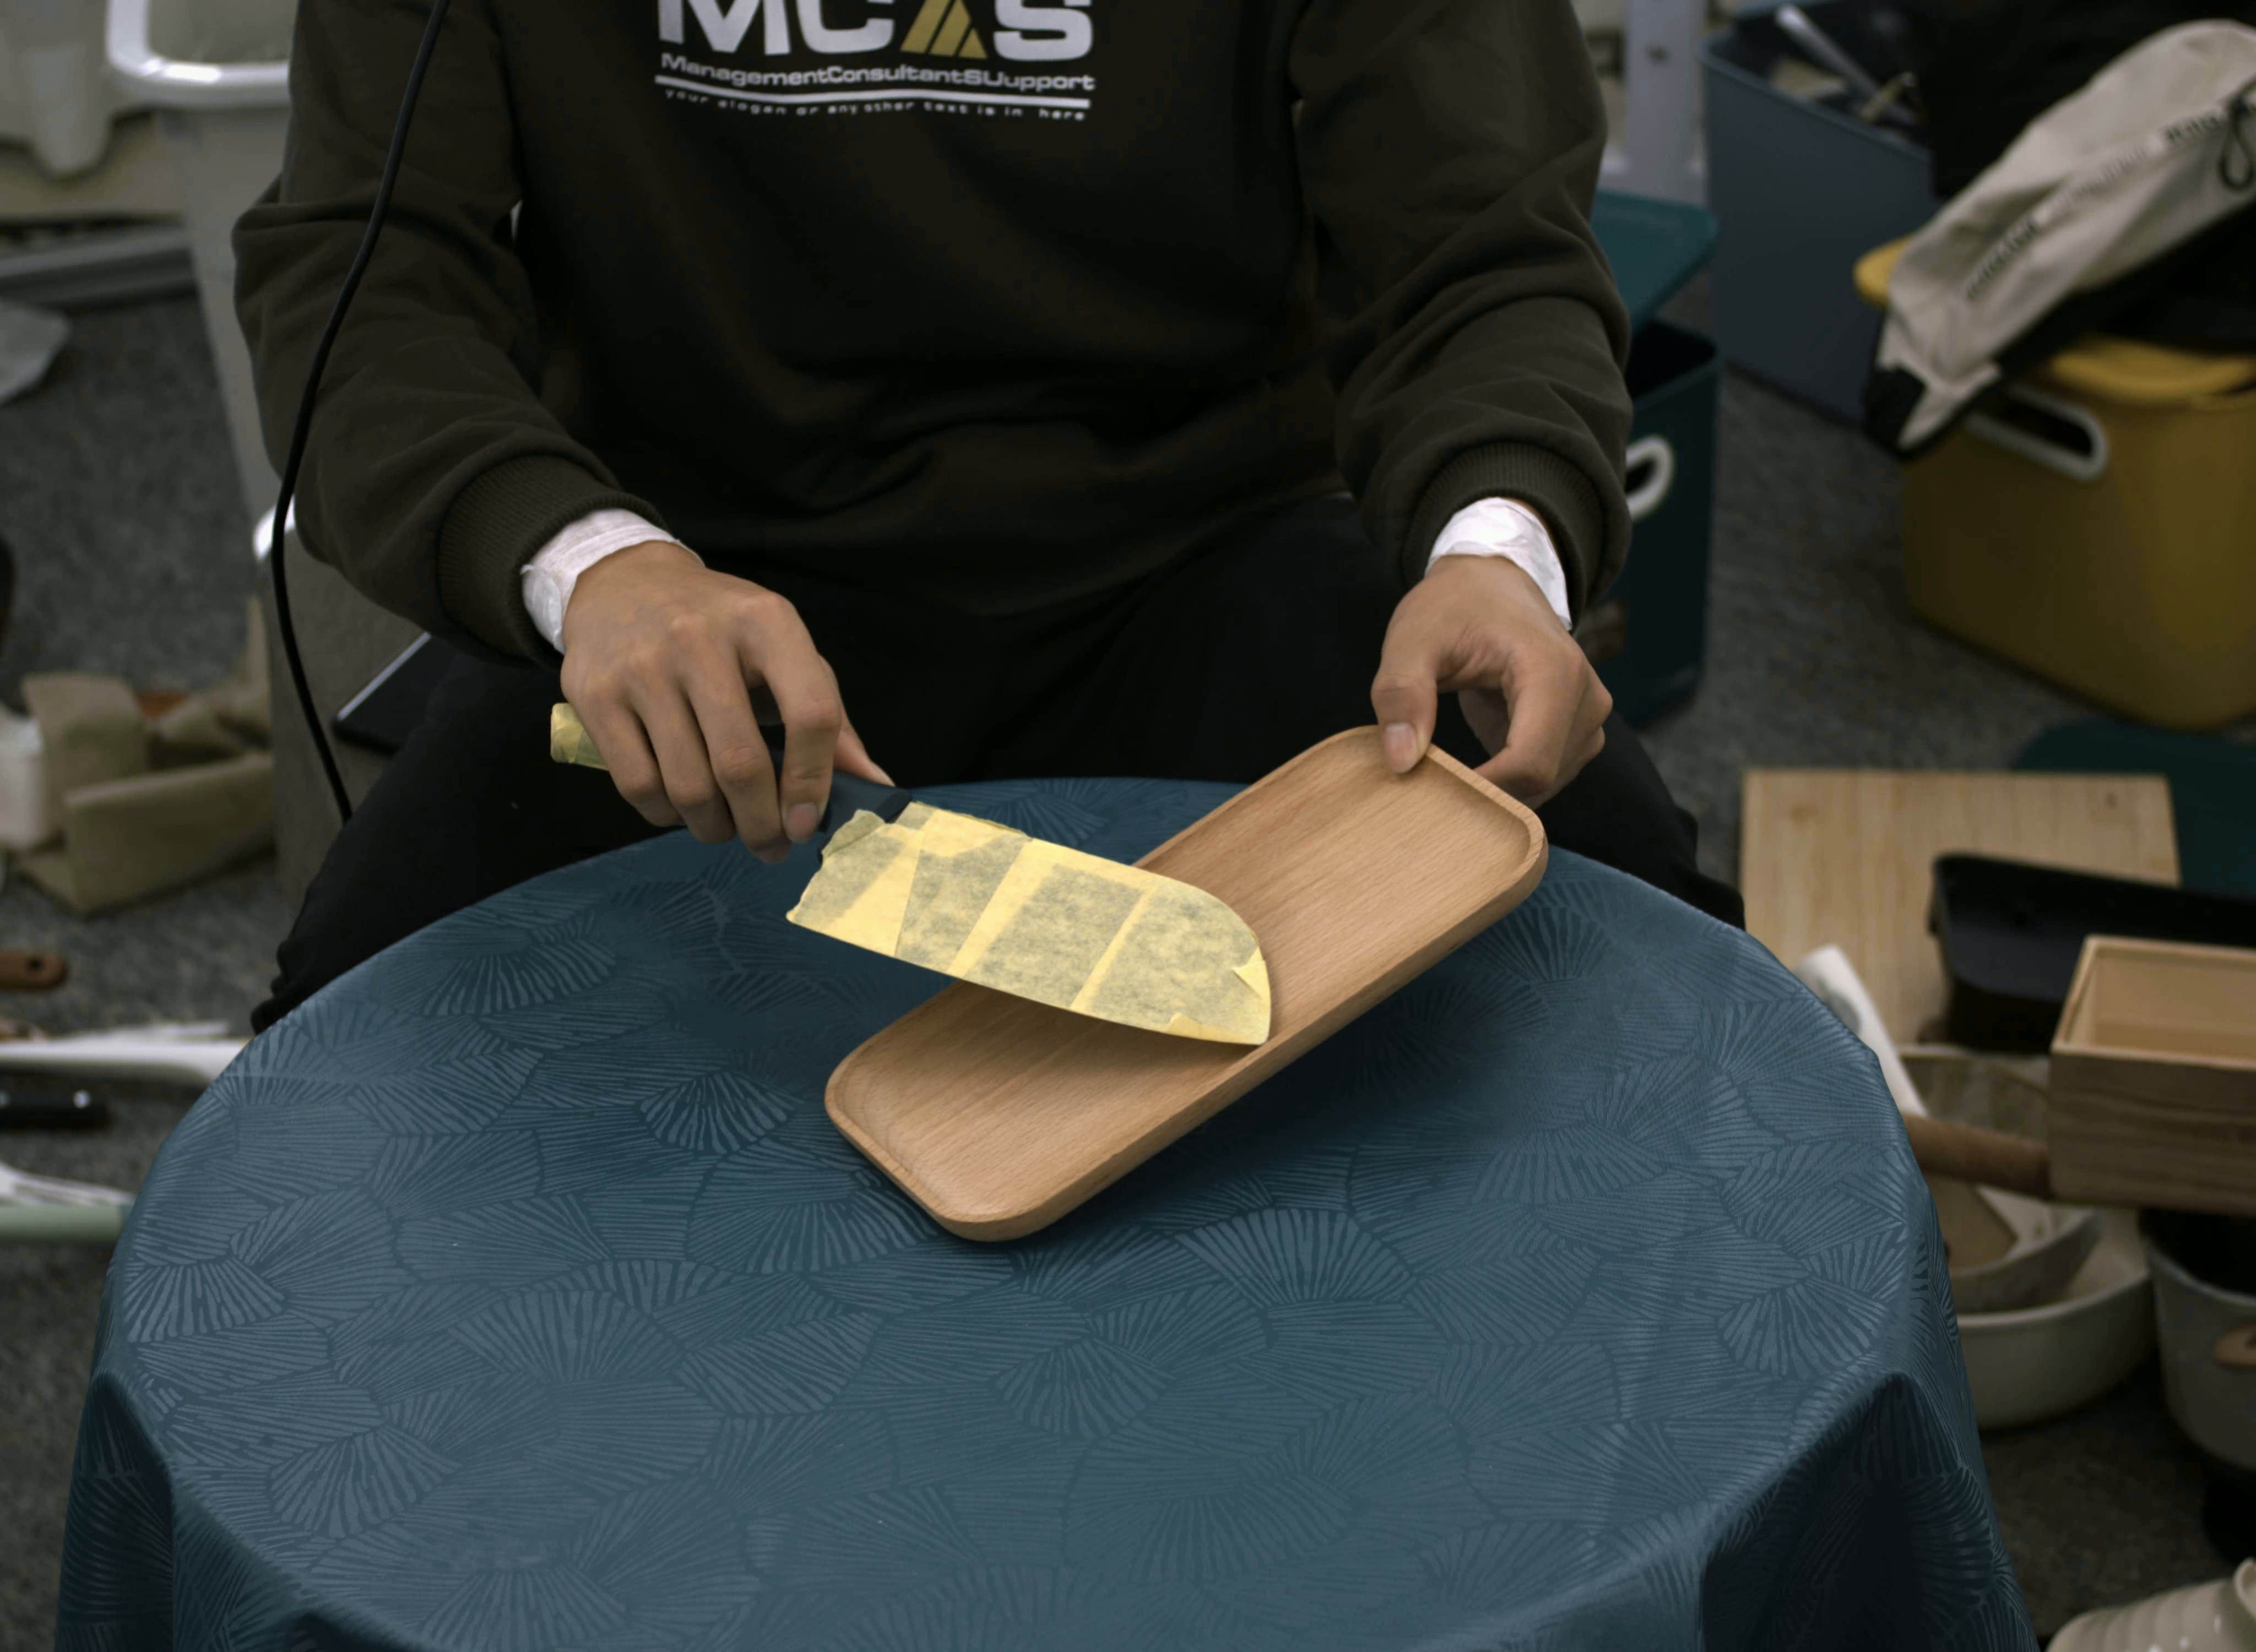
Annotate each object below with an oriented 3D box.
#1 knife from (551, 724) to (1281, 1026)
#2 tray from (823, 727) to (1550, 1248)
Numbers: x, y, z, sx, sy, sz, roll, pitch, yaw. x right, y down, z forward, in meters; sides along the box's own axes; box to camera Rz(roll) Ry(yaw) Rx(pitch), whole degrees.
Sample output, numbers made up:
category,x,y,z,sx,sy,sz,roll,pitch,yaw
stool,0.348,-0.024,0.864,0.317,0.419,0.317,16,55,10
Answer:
category,x,y,z,sx,sy,sz,roll,pitch,yaw
knife,-0.079,0.017,1.917,0.288,0.027,0.082,17,43,21
tray,0.021,0.053,1.900,0.252,0.022,0.131,-34,34,-17
